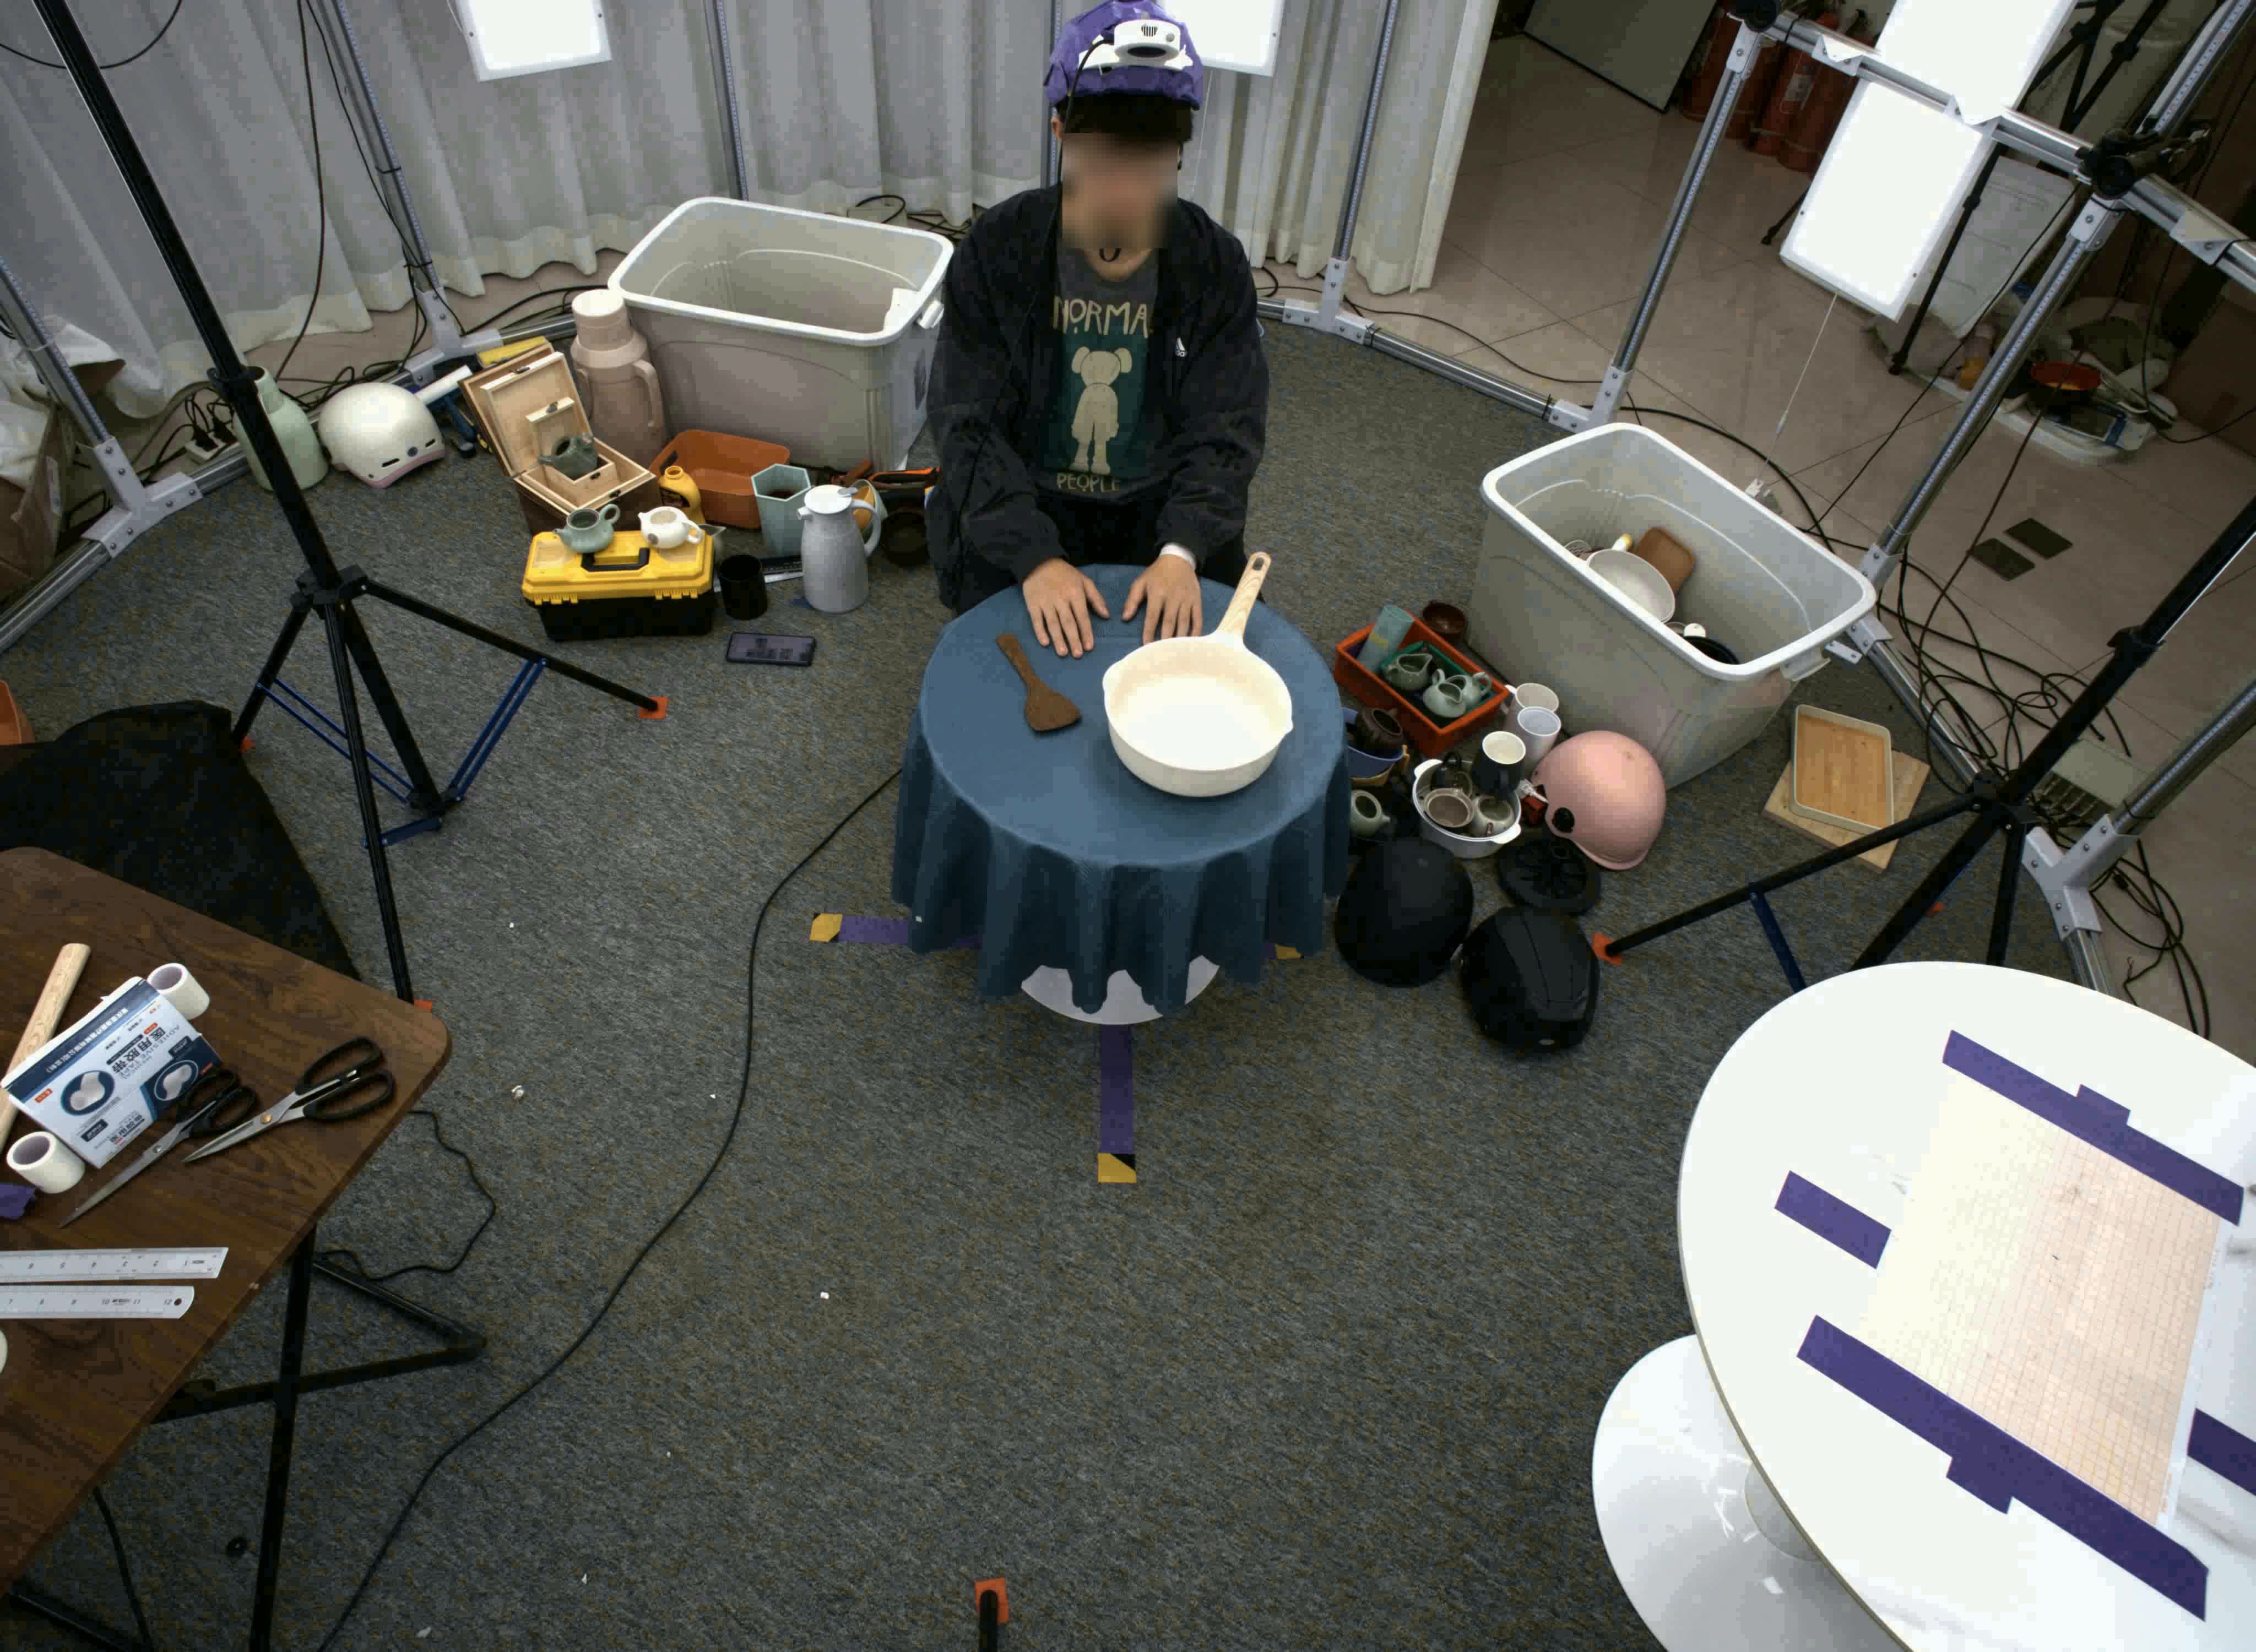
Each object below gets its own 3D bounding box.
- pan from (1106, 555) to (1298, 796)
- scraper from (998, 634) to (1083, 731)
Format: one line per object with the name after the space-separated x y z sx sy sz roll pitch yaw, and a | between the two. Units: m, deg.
0.127 -0.212 1.796 0.264 0.099 0.444 15 49 12 | pan
-0.137 -0.208 1.835 0.076 0.010 0.216 -17 51 -19 | scraper
